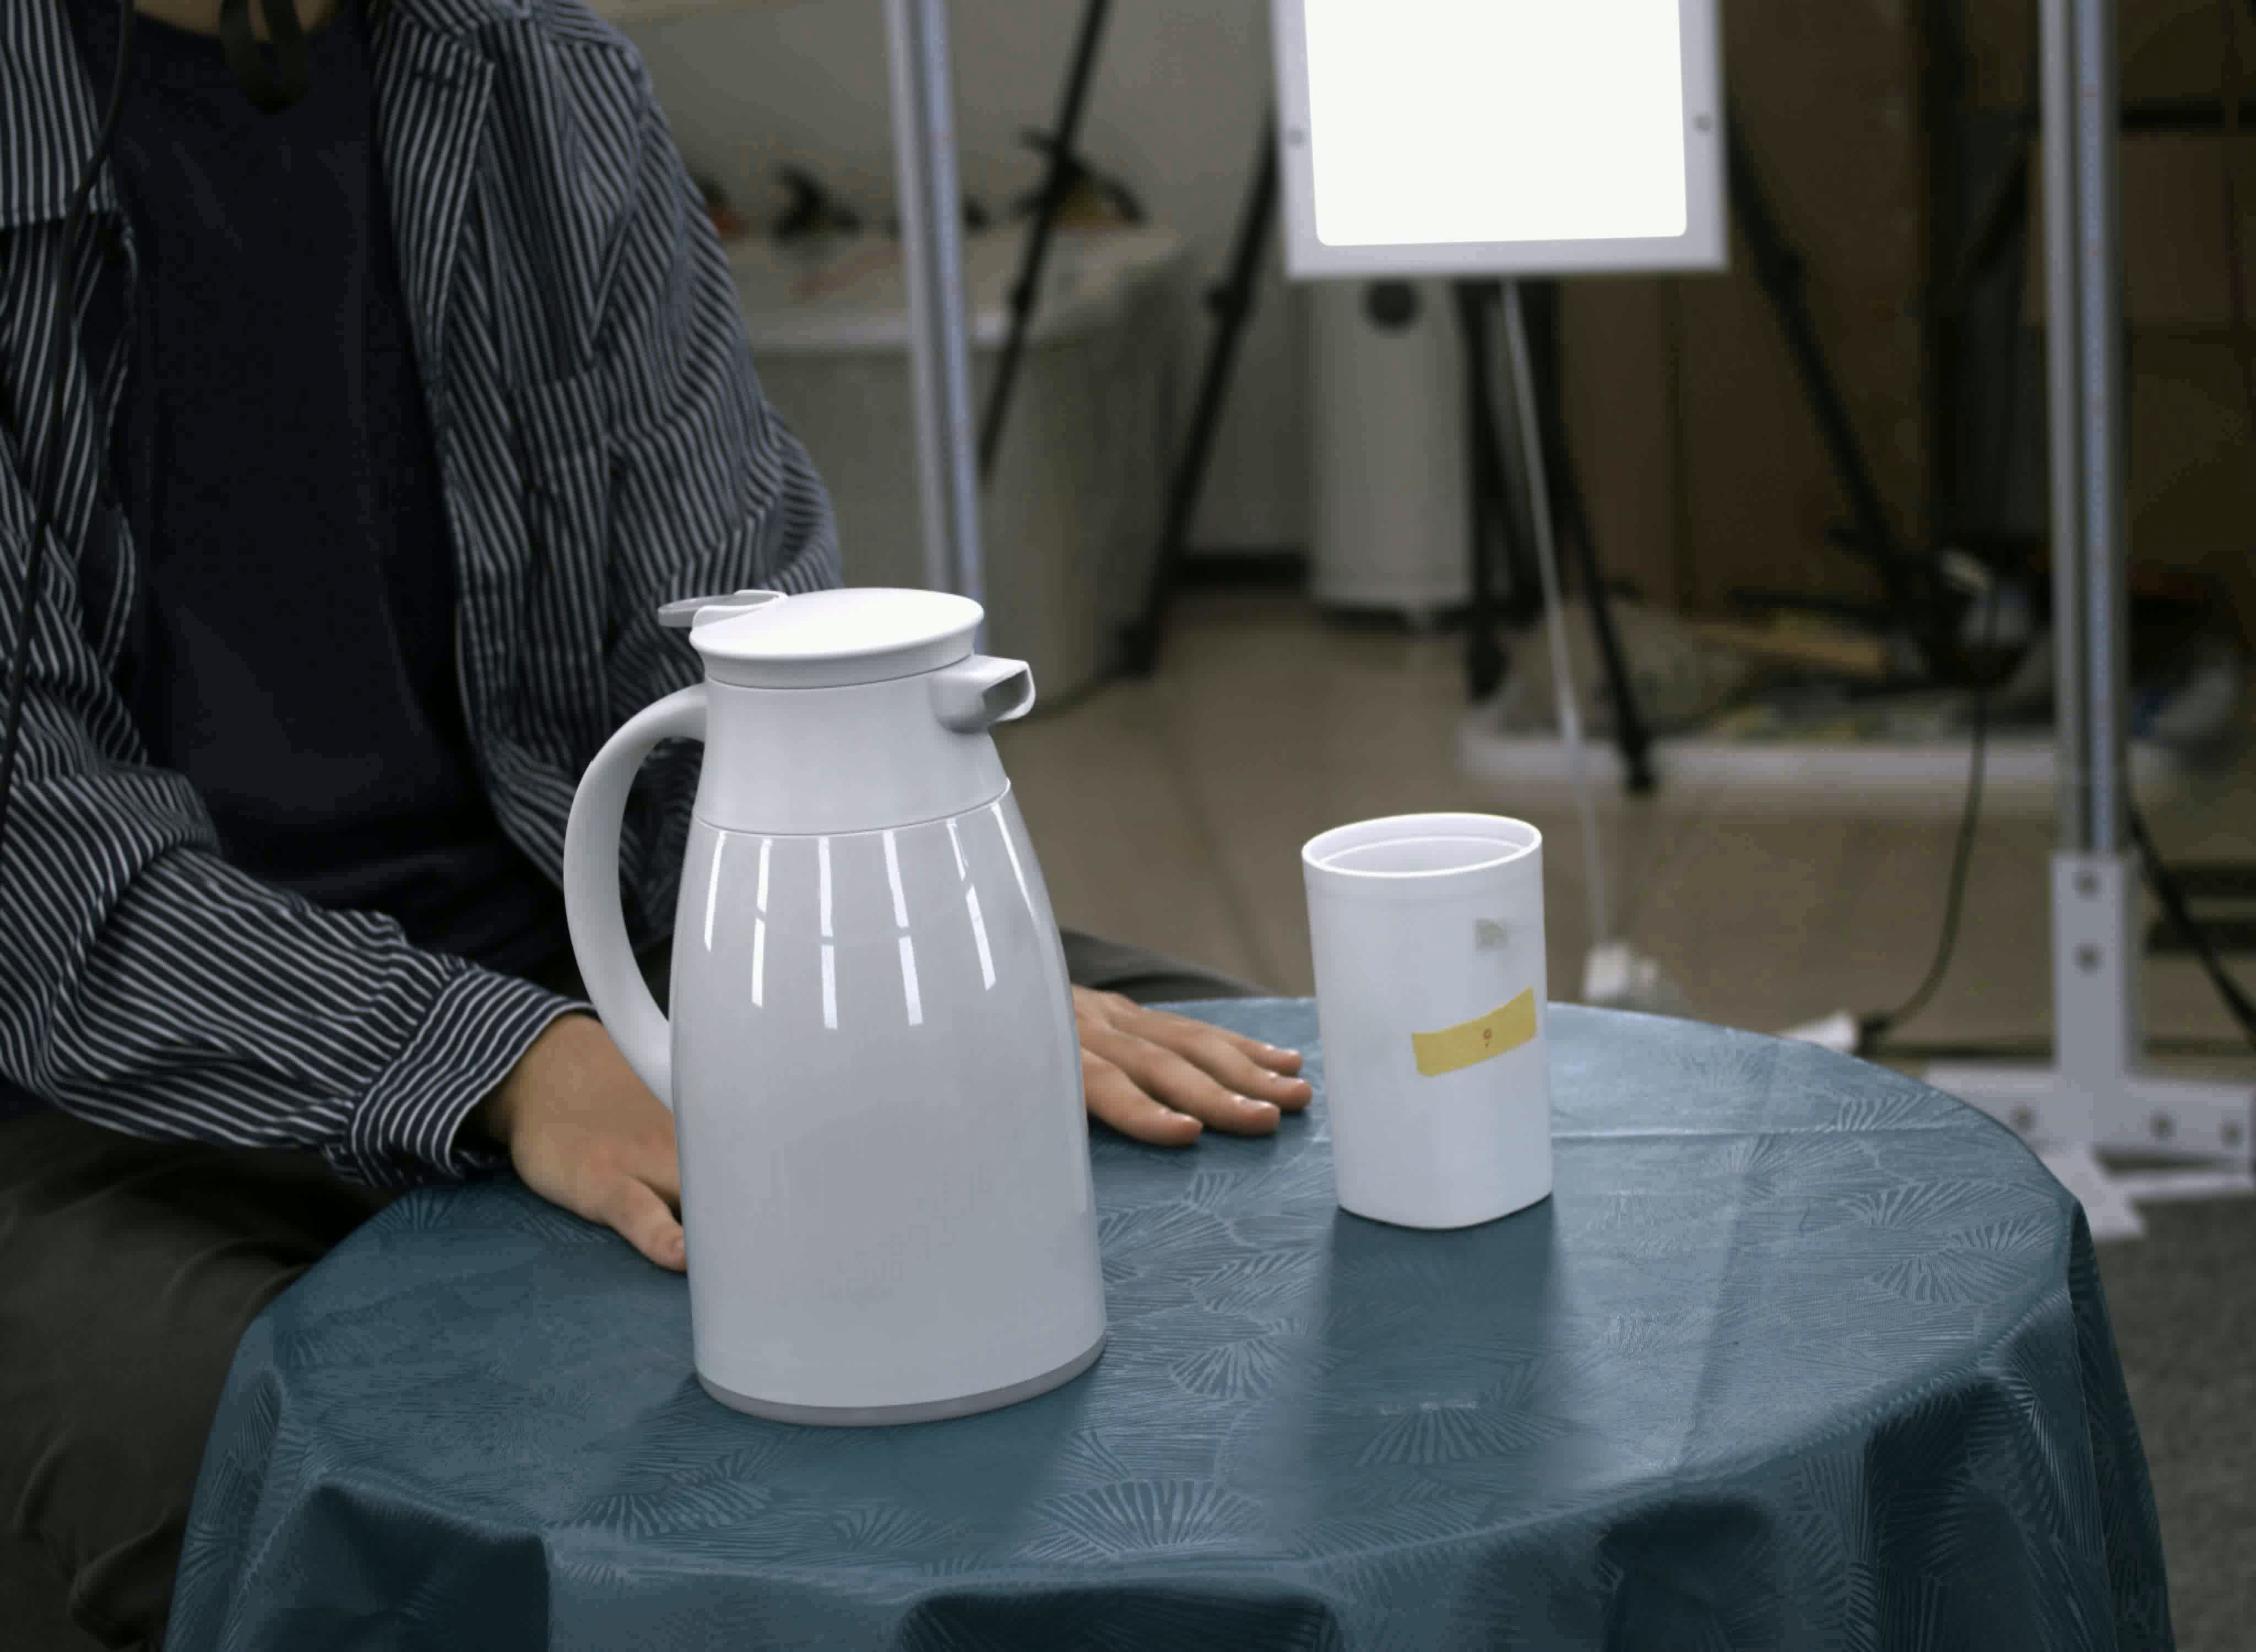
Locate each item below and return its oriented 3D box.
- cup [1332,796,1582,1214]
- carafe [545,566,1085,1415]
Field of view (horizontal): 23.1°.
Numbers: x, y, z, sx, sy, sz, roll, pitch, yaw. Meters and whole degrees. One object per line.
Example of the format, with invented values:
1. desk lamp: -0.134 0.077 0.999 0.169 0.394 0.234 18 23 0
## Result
1. cup: 0.114 0.060 1.847 0.081 0.126 0.081 -5 14 0
2. carafe: -0.102 0.044 1.725 0.170 0.249 0.130 3 17 20
